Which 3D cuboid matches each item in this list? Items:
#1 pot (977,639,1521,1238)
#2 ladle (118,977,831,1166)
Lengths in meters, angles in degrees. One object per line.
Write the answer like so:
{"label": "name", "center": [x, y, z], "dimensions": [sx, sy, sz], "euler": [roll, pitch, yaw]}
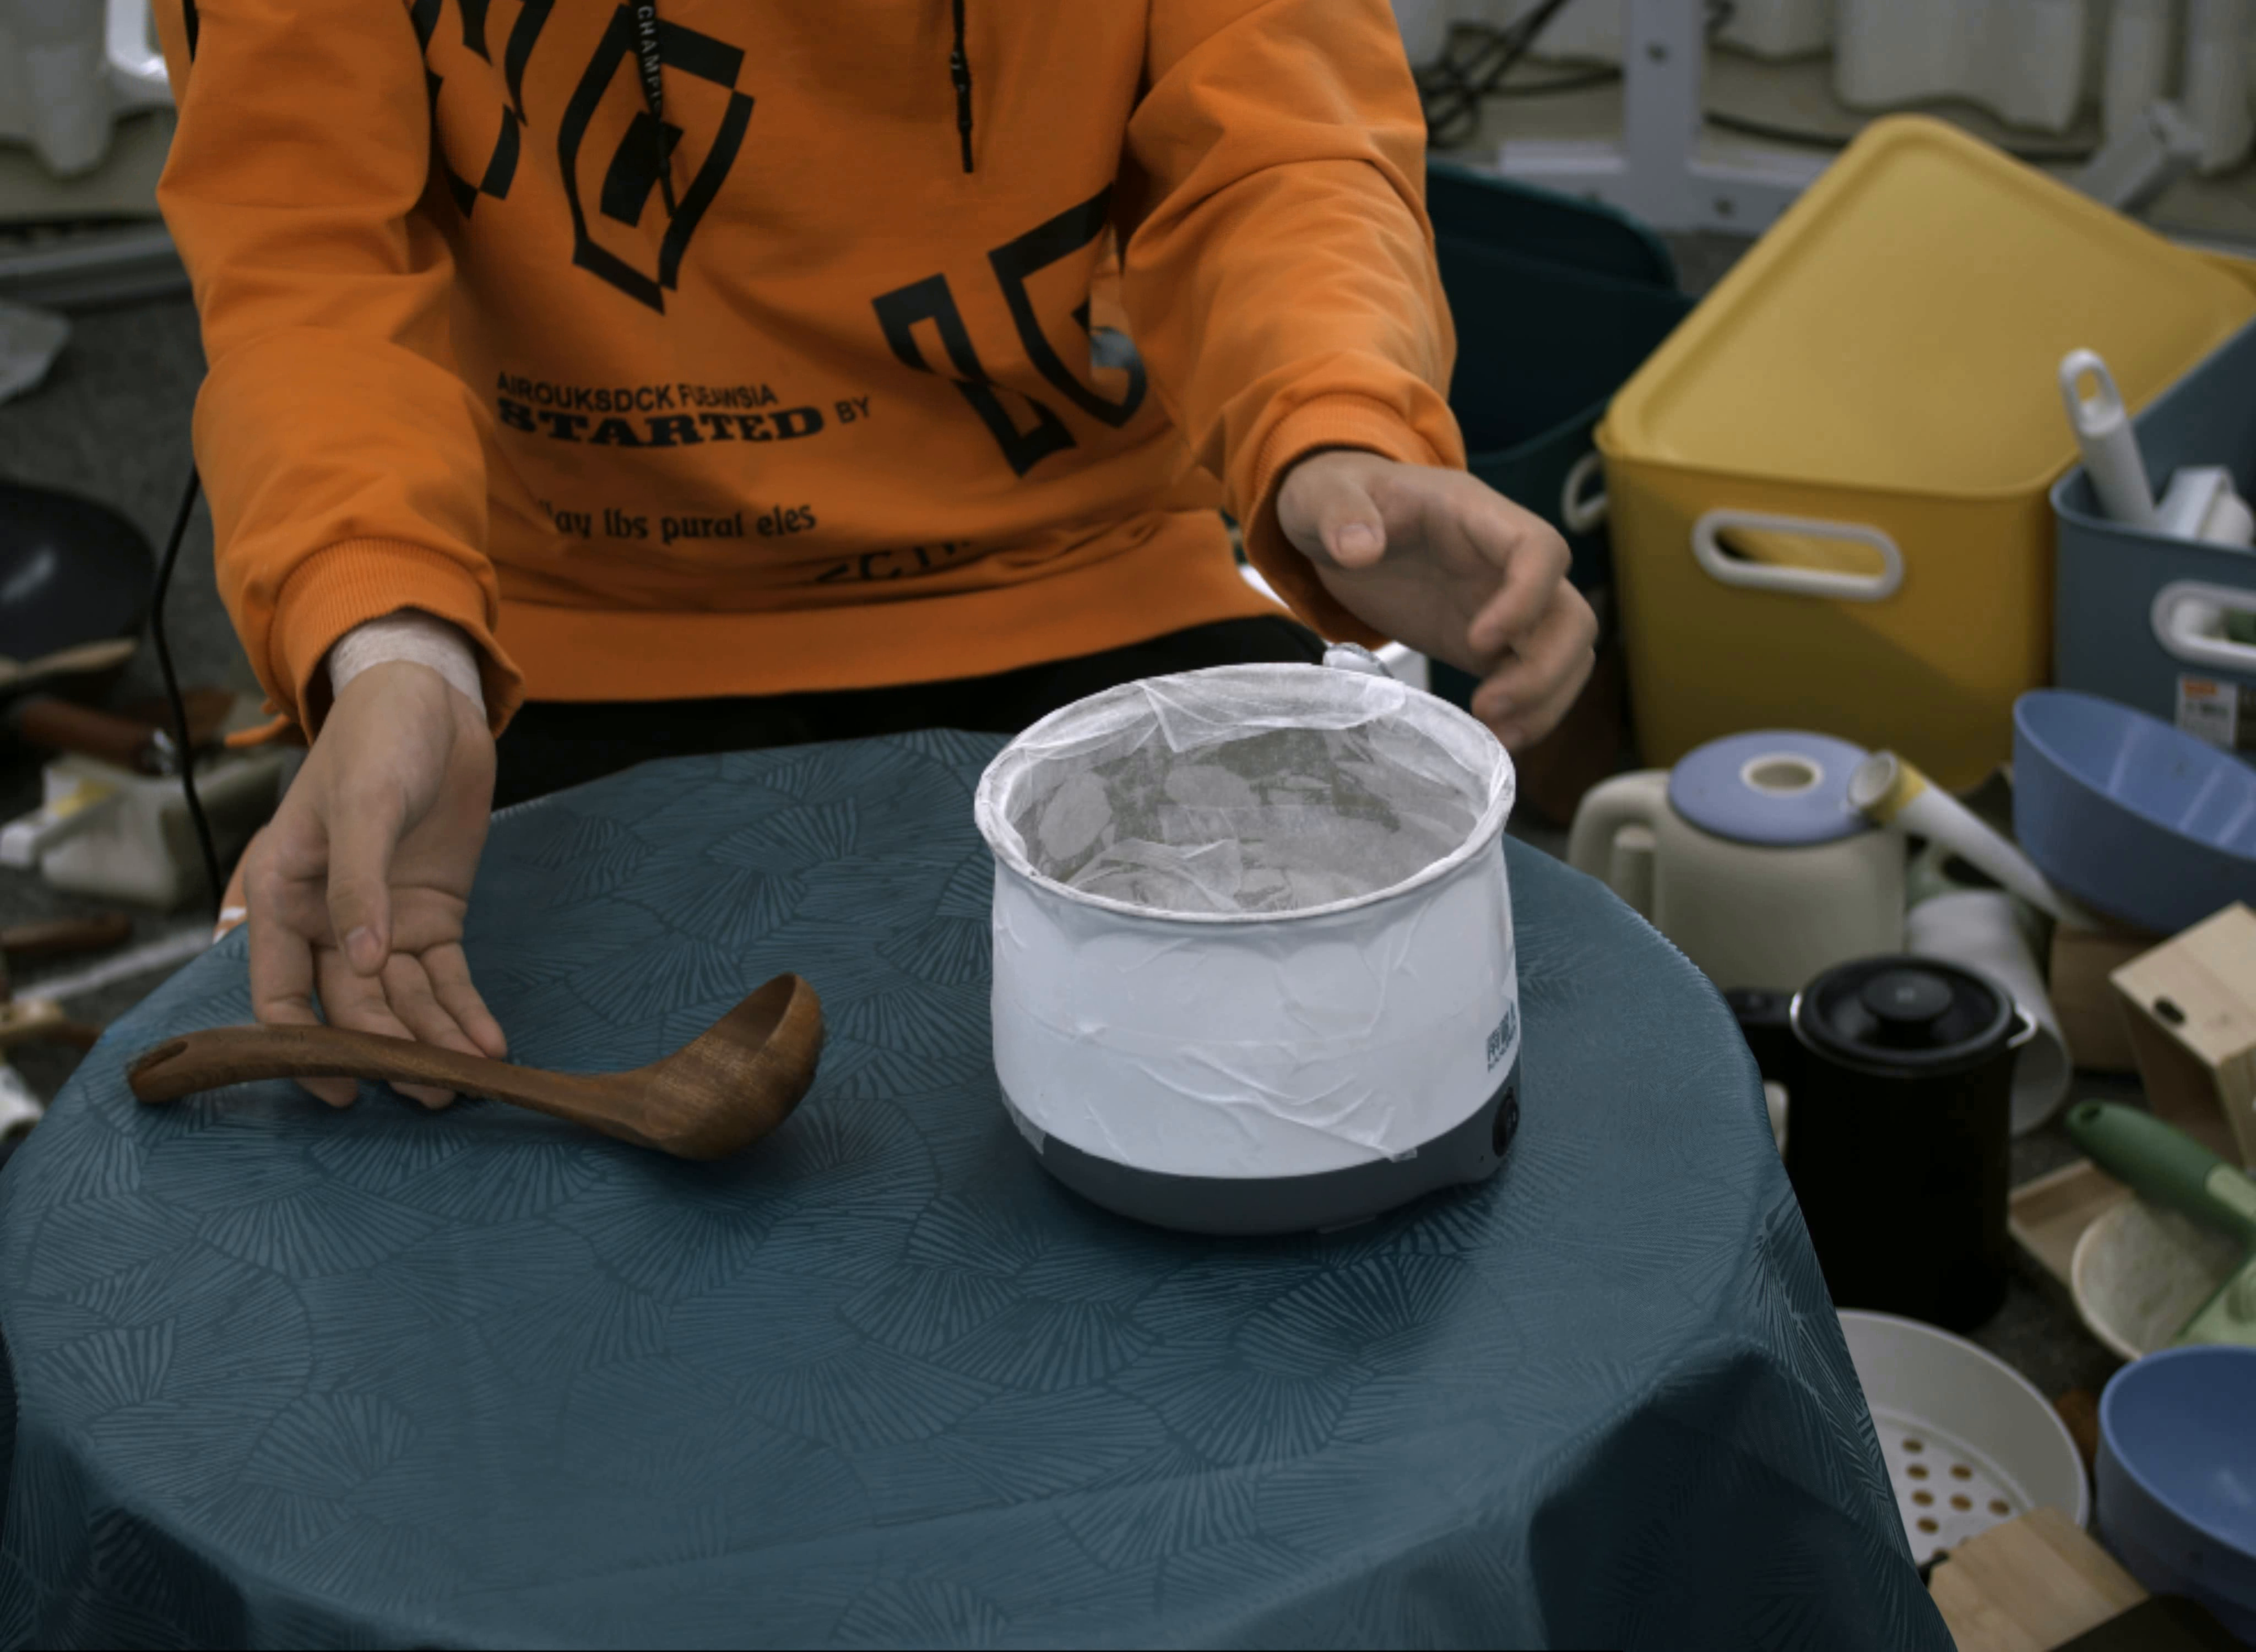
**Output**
{"label": "pot", "center": [0.051, 0.030, 1.886], "dimensions": [0.177, 0.135, 0.238], "euler": [7, 29, 19]}
{"label": "ladle", "center": [-0.225, 0.076, 1.904], "dimensions": [0.258, 0.064, 0.078], "euler": [5, 29, 14]}
